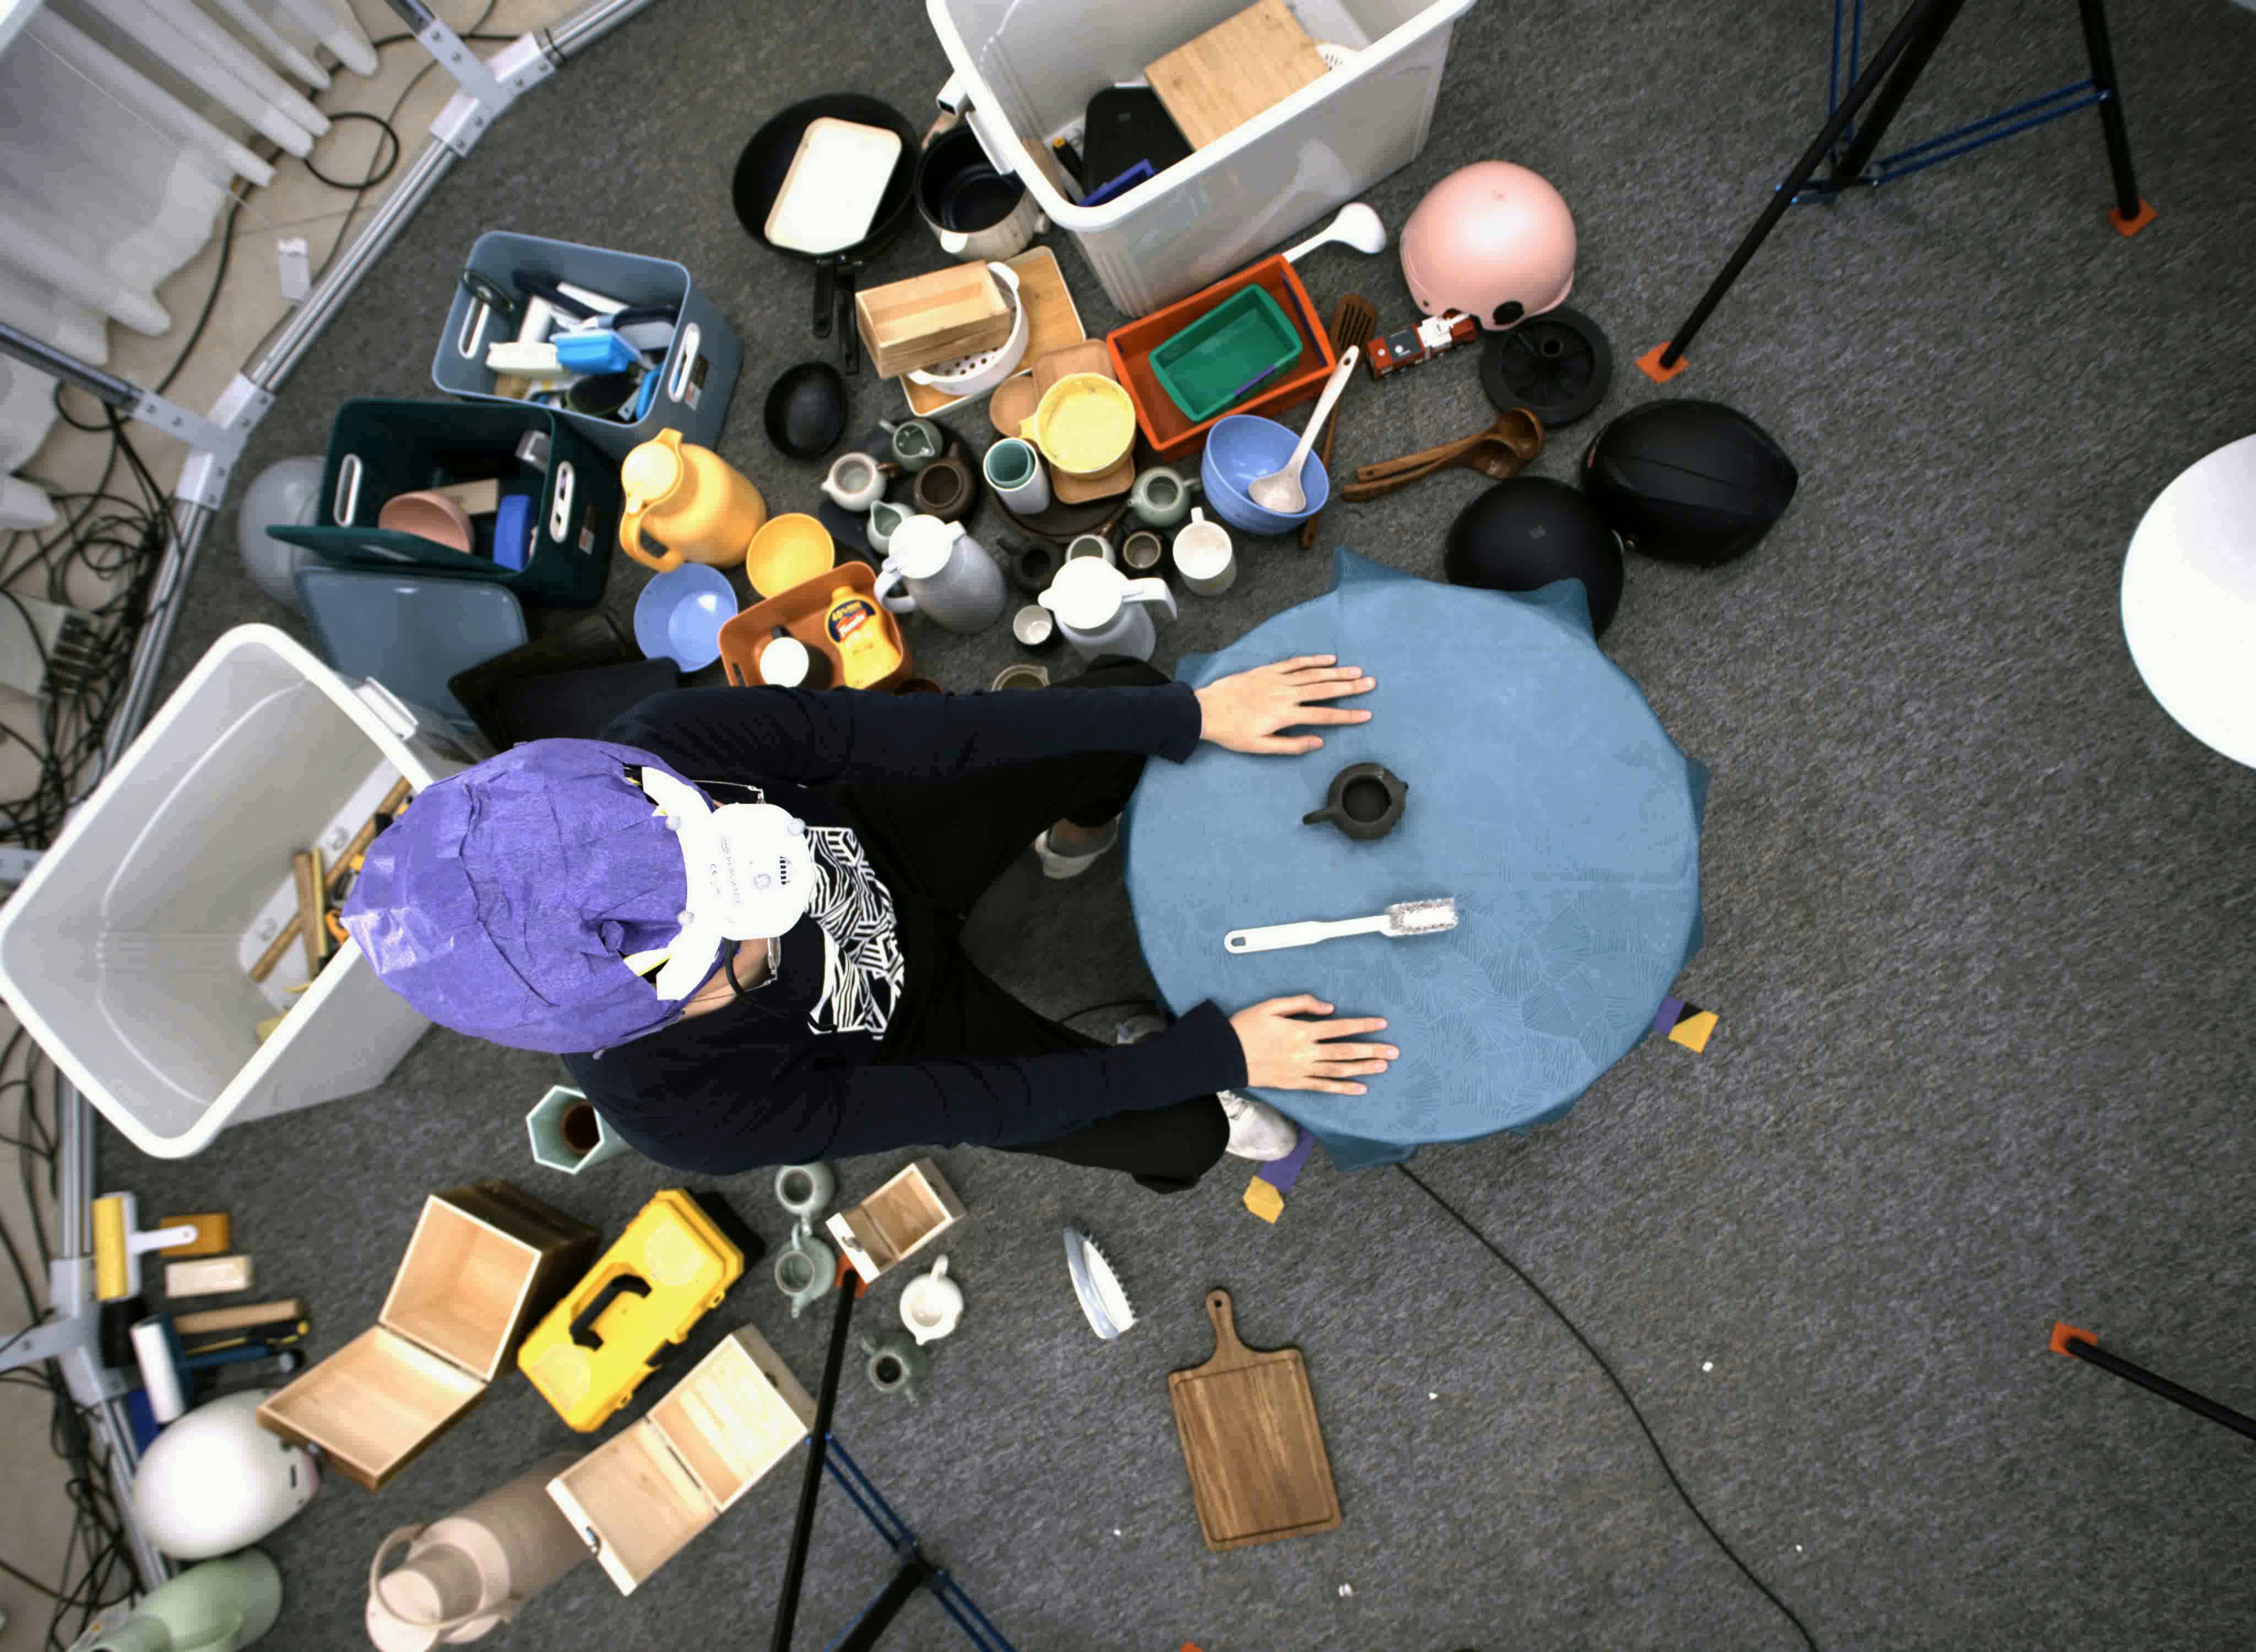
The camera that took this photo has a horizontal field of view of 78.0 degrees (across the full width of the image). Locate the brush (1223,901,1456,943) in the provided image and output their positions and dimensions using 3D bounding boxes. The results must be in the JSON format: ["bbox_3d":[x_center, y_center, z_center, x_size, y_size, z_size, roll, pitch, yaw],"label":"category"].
[{"bbox_3d":[0.218,0.102,1.443,0.245,0.050,0.034,-5,89,10],"label":"brush"}]

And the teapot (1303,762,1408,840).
[{"bbox_3d":[0.238,-0.024,1.444,0.115,0.053,0.082,-17,84,9],"label":"teapot"}]
